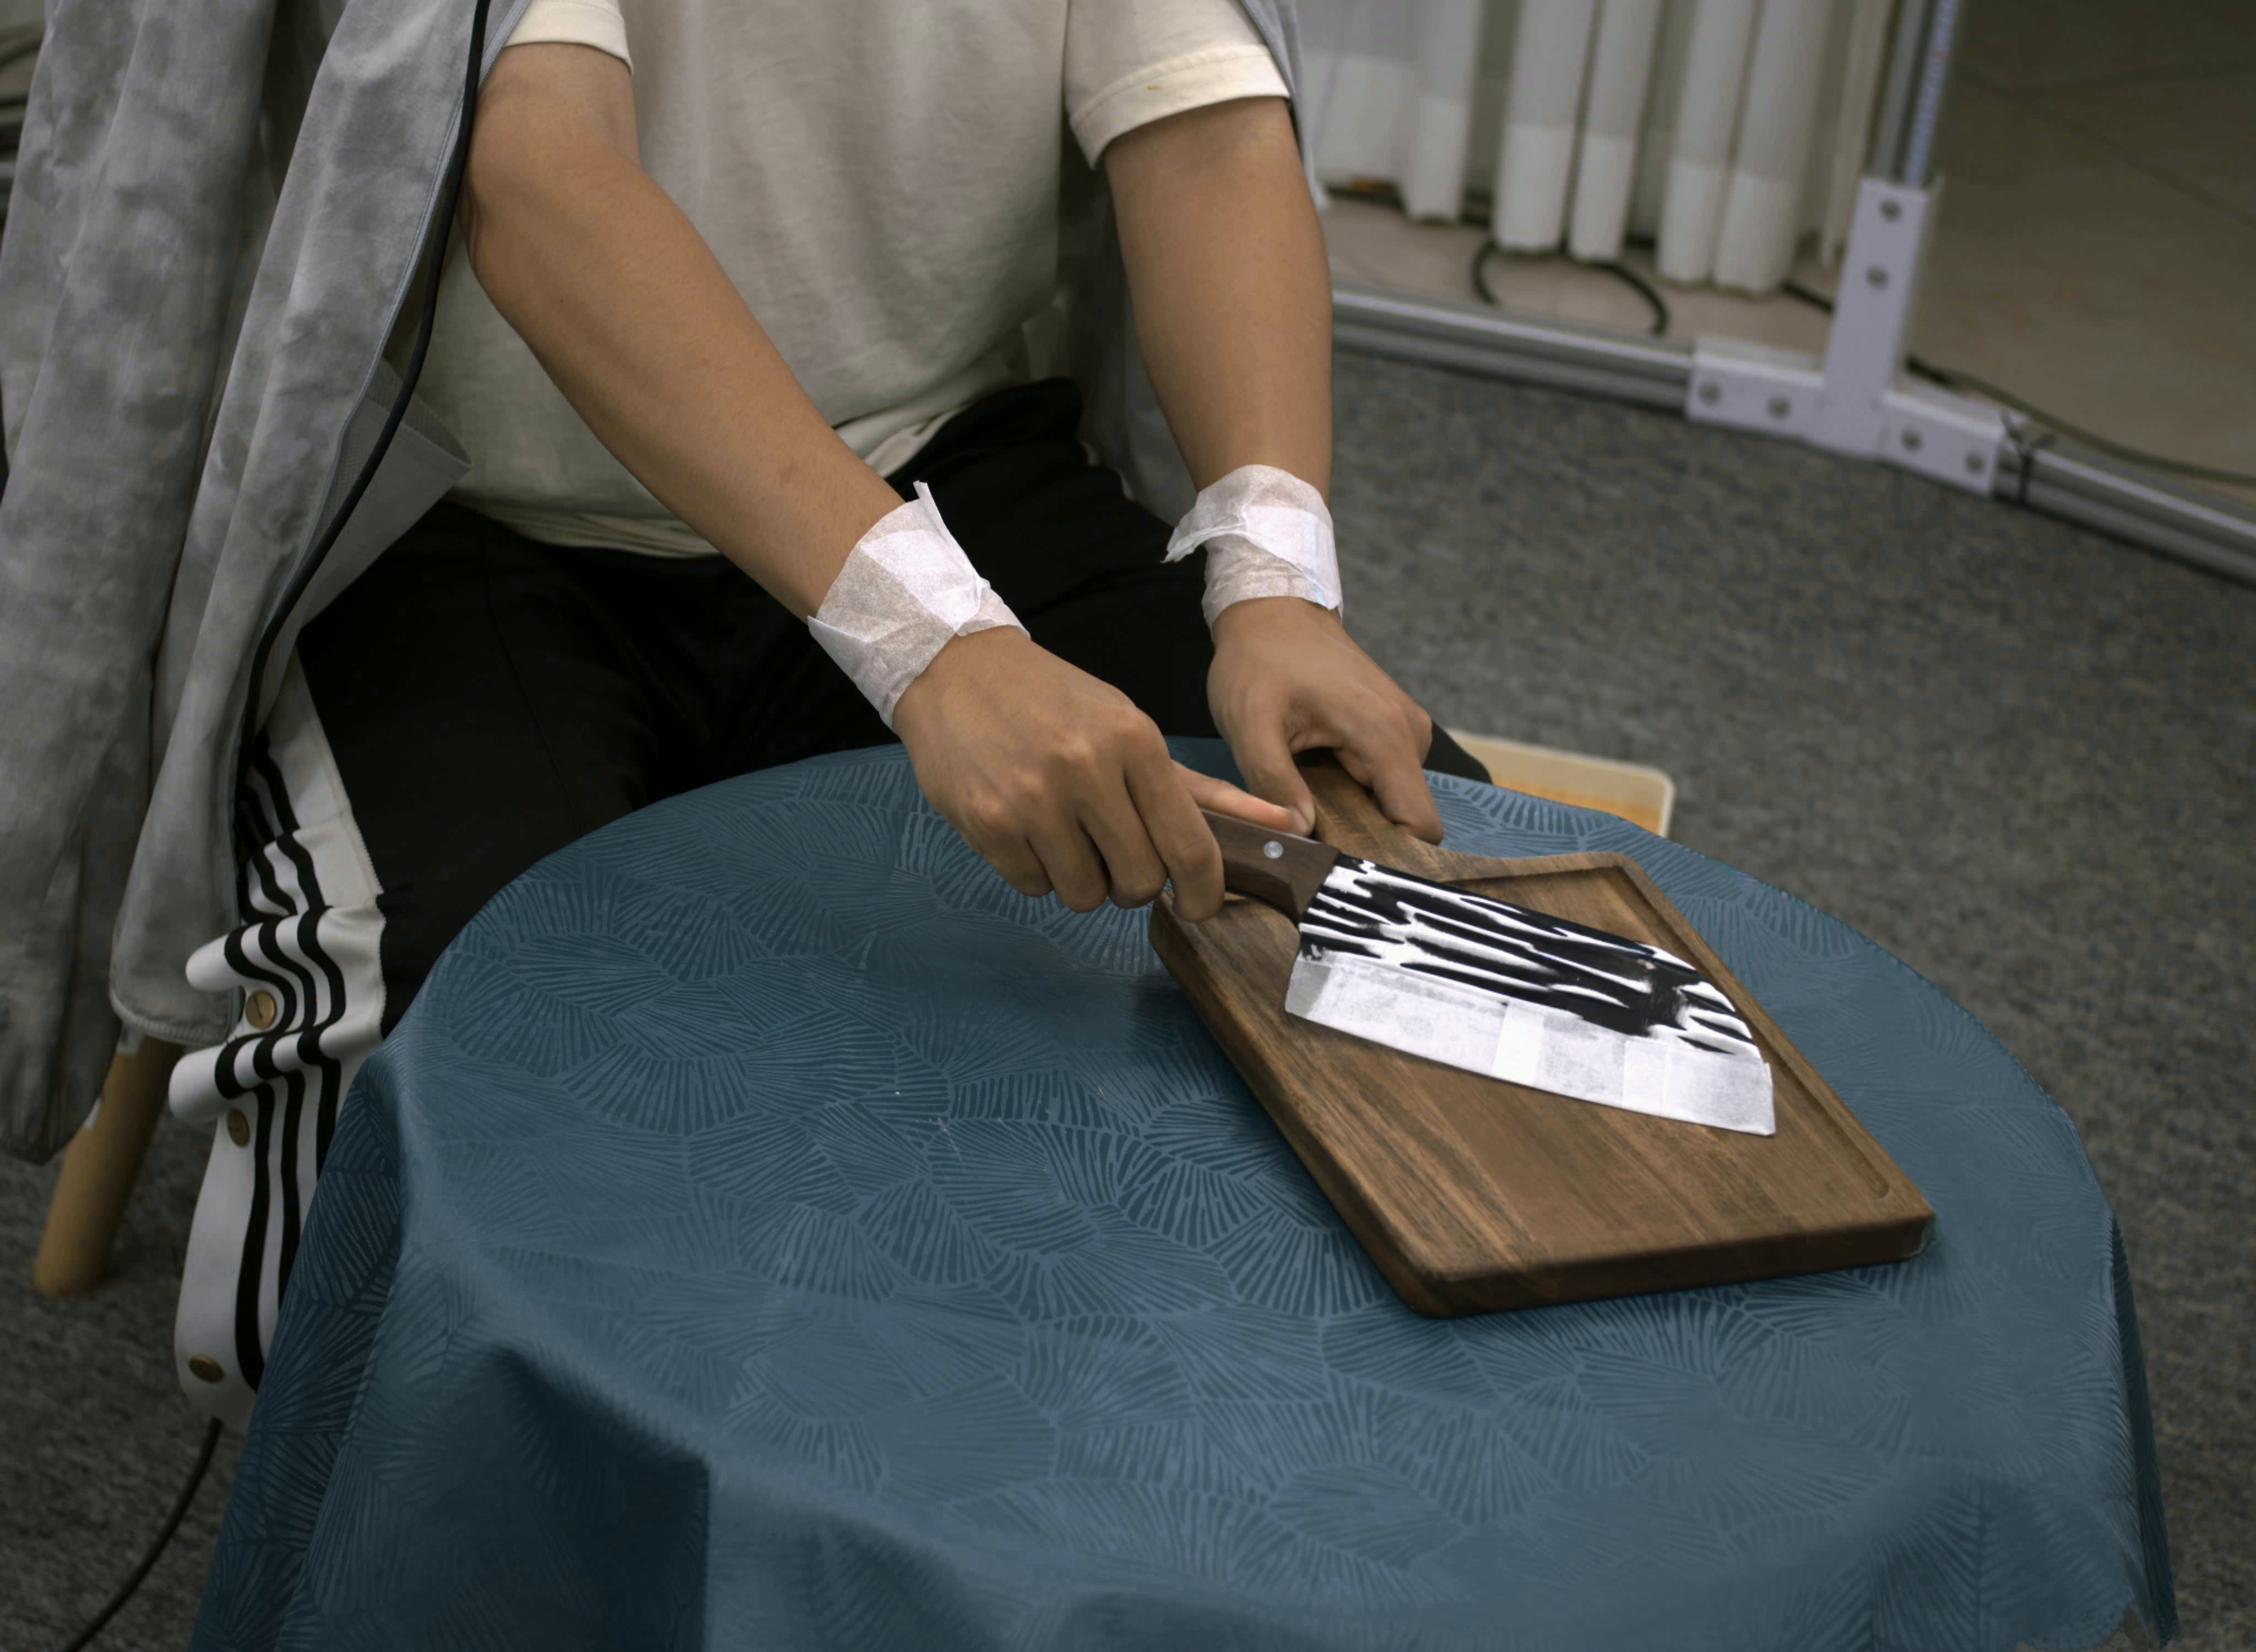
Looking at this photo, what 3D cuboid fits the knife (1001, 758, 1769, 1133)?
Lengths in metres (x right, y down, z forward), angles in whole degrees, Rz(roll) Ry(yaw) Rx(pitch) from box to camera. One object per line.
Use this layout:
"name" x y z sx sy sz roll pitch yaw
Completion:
"knife" 0.088 0.043 1.880 0.299 0.024 0.068 18 63 9

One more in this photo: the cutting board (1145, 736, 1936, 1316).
"cutting board" 0.123 0.060 1.916 0.200 0.023 0.355 -5 31 -22
